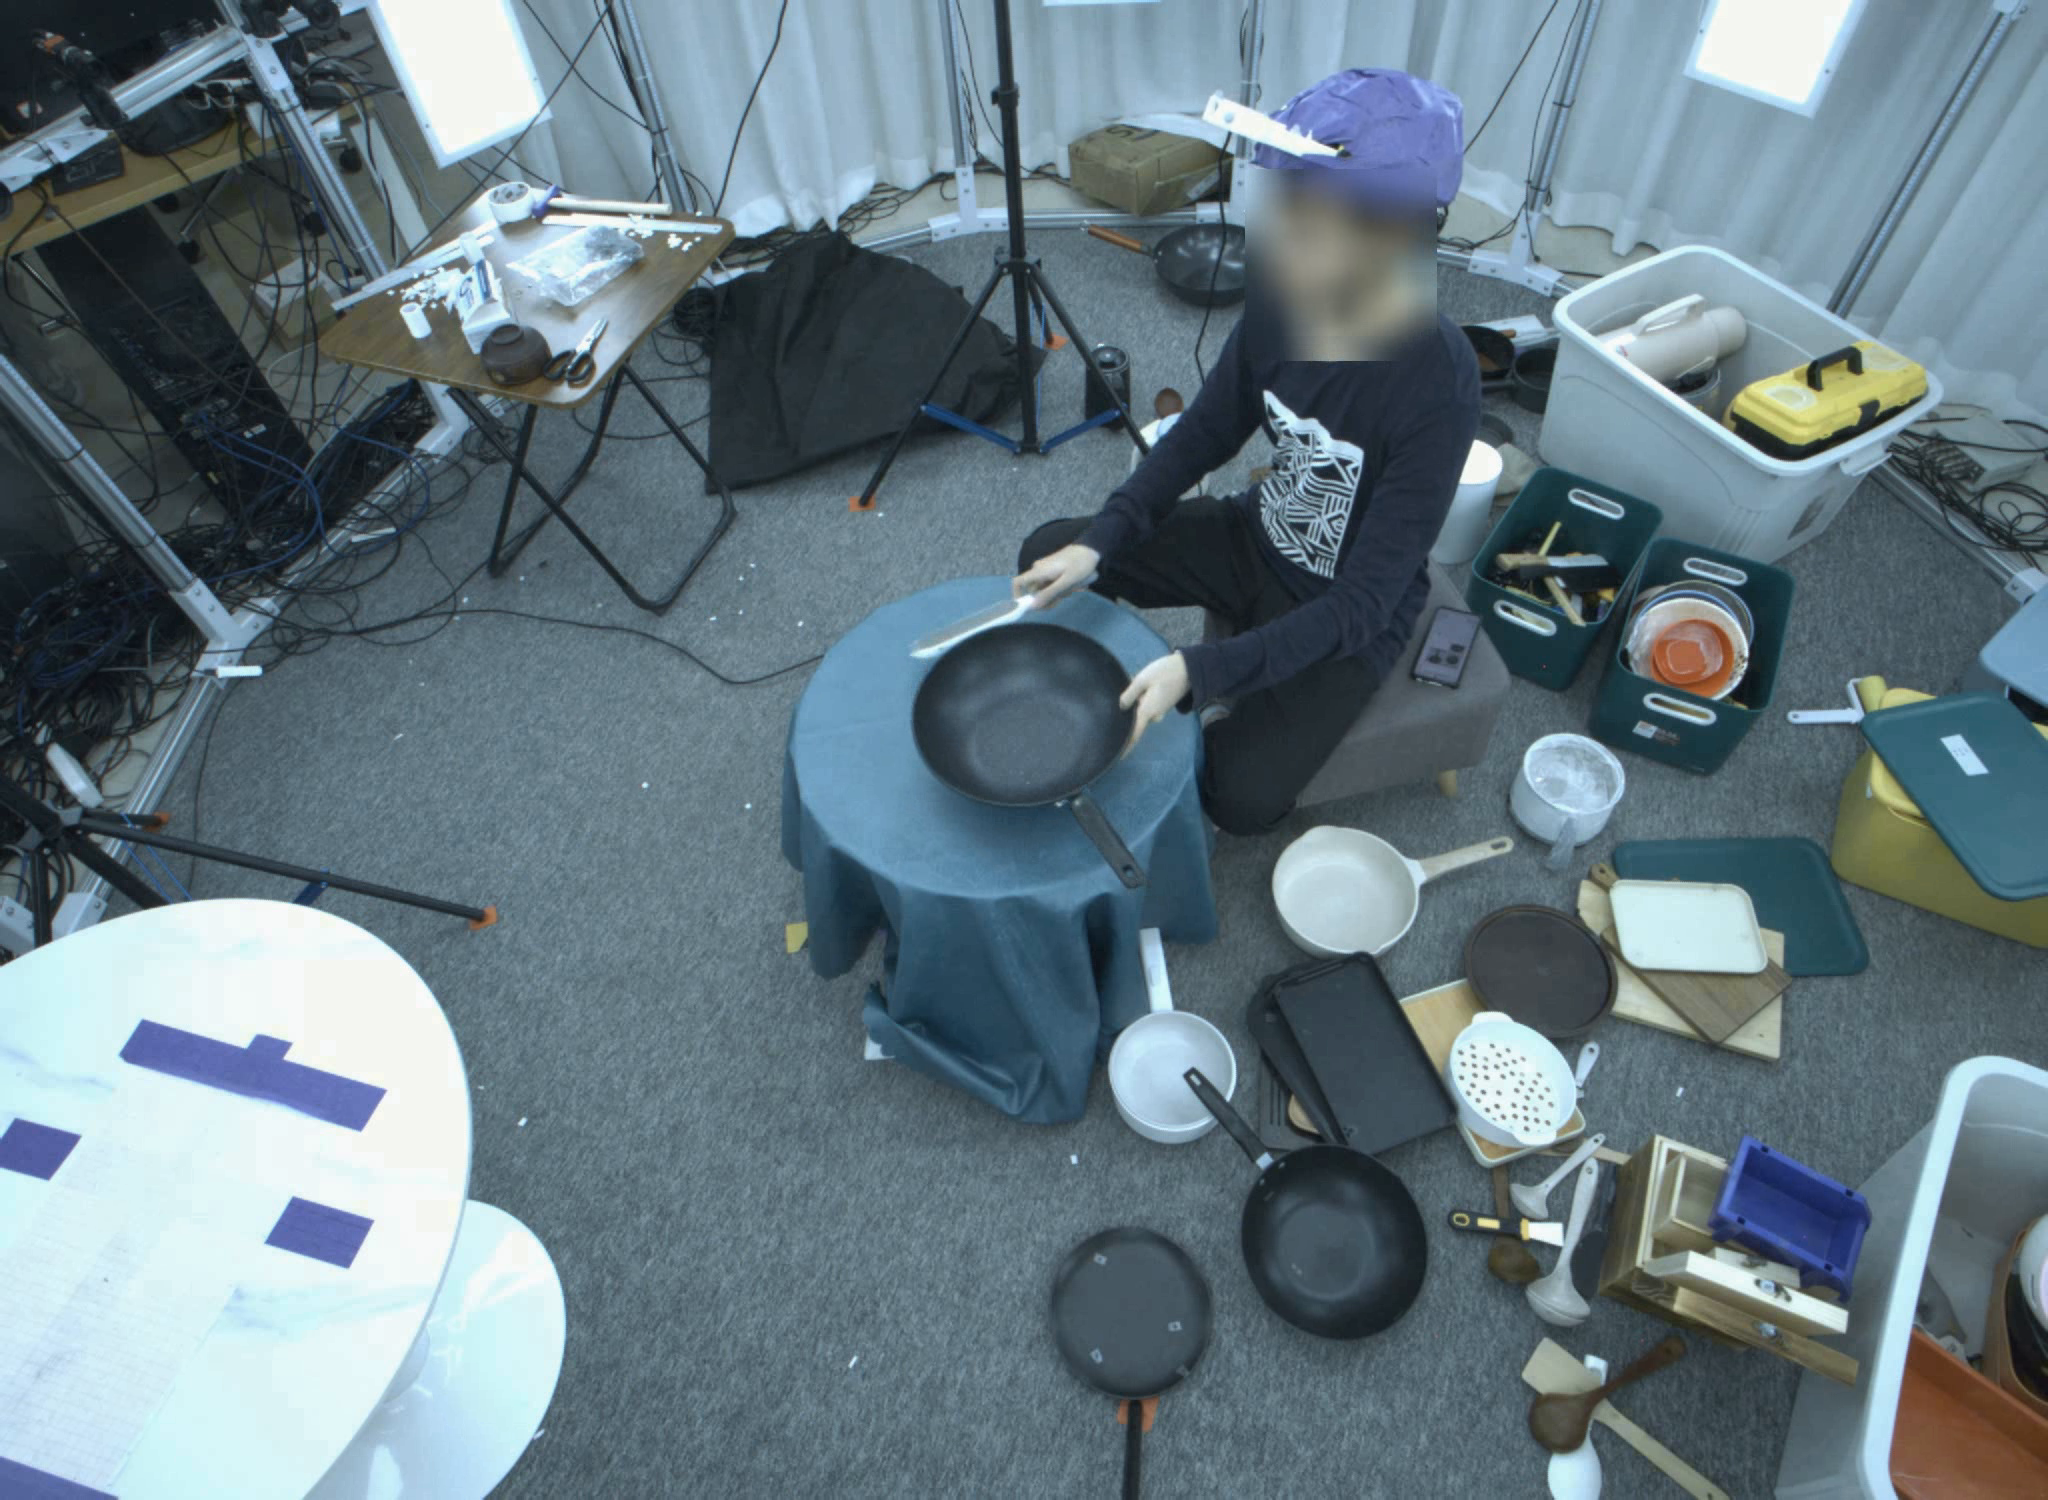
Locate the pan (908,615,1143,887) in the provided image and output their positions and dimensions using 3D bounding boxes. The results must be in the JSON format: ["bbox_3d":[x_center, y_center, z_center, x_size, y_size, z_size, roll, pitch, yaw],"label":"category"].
[{"bbox_3d":[0.035,0.015,1.664,0.312,0.113,0.468,-26,61,-11],"label":"pan"}]

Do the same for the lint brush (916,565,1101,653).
[{"bbox_3d":[-0.022,-0.216,1.868,0.310,0.021,0.059,-25,24,-10],"label":"lint brush"}]
